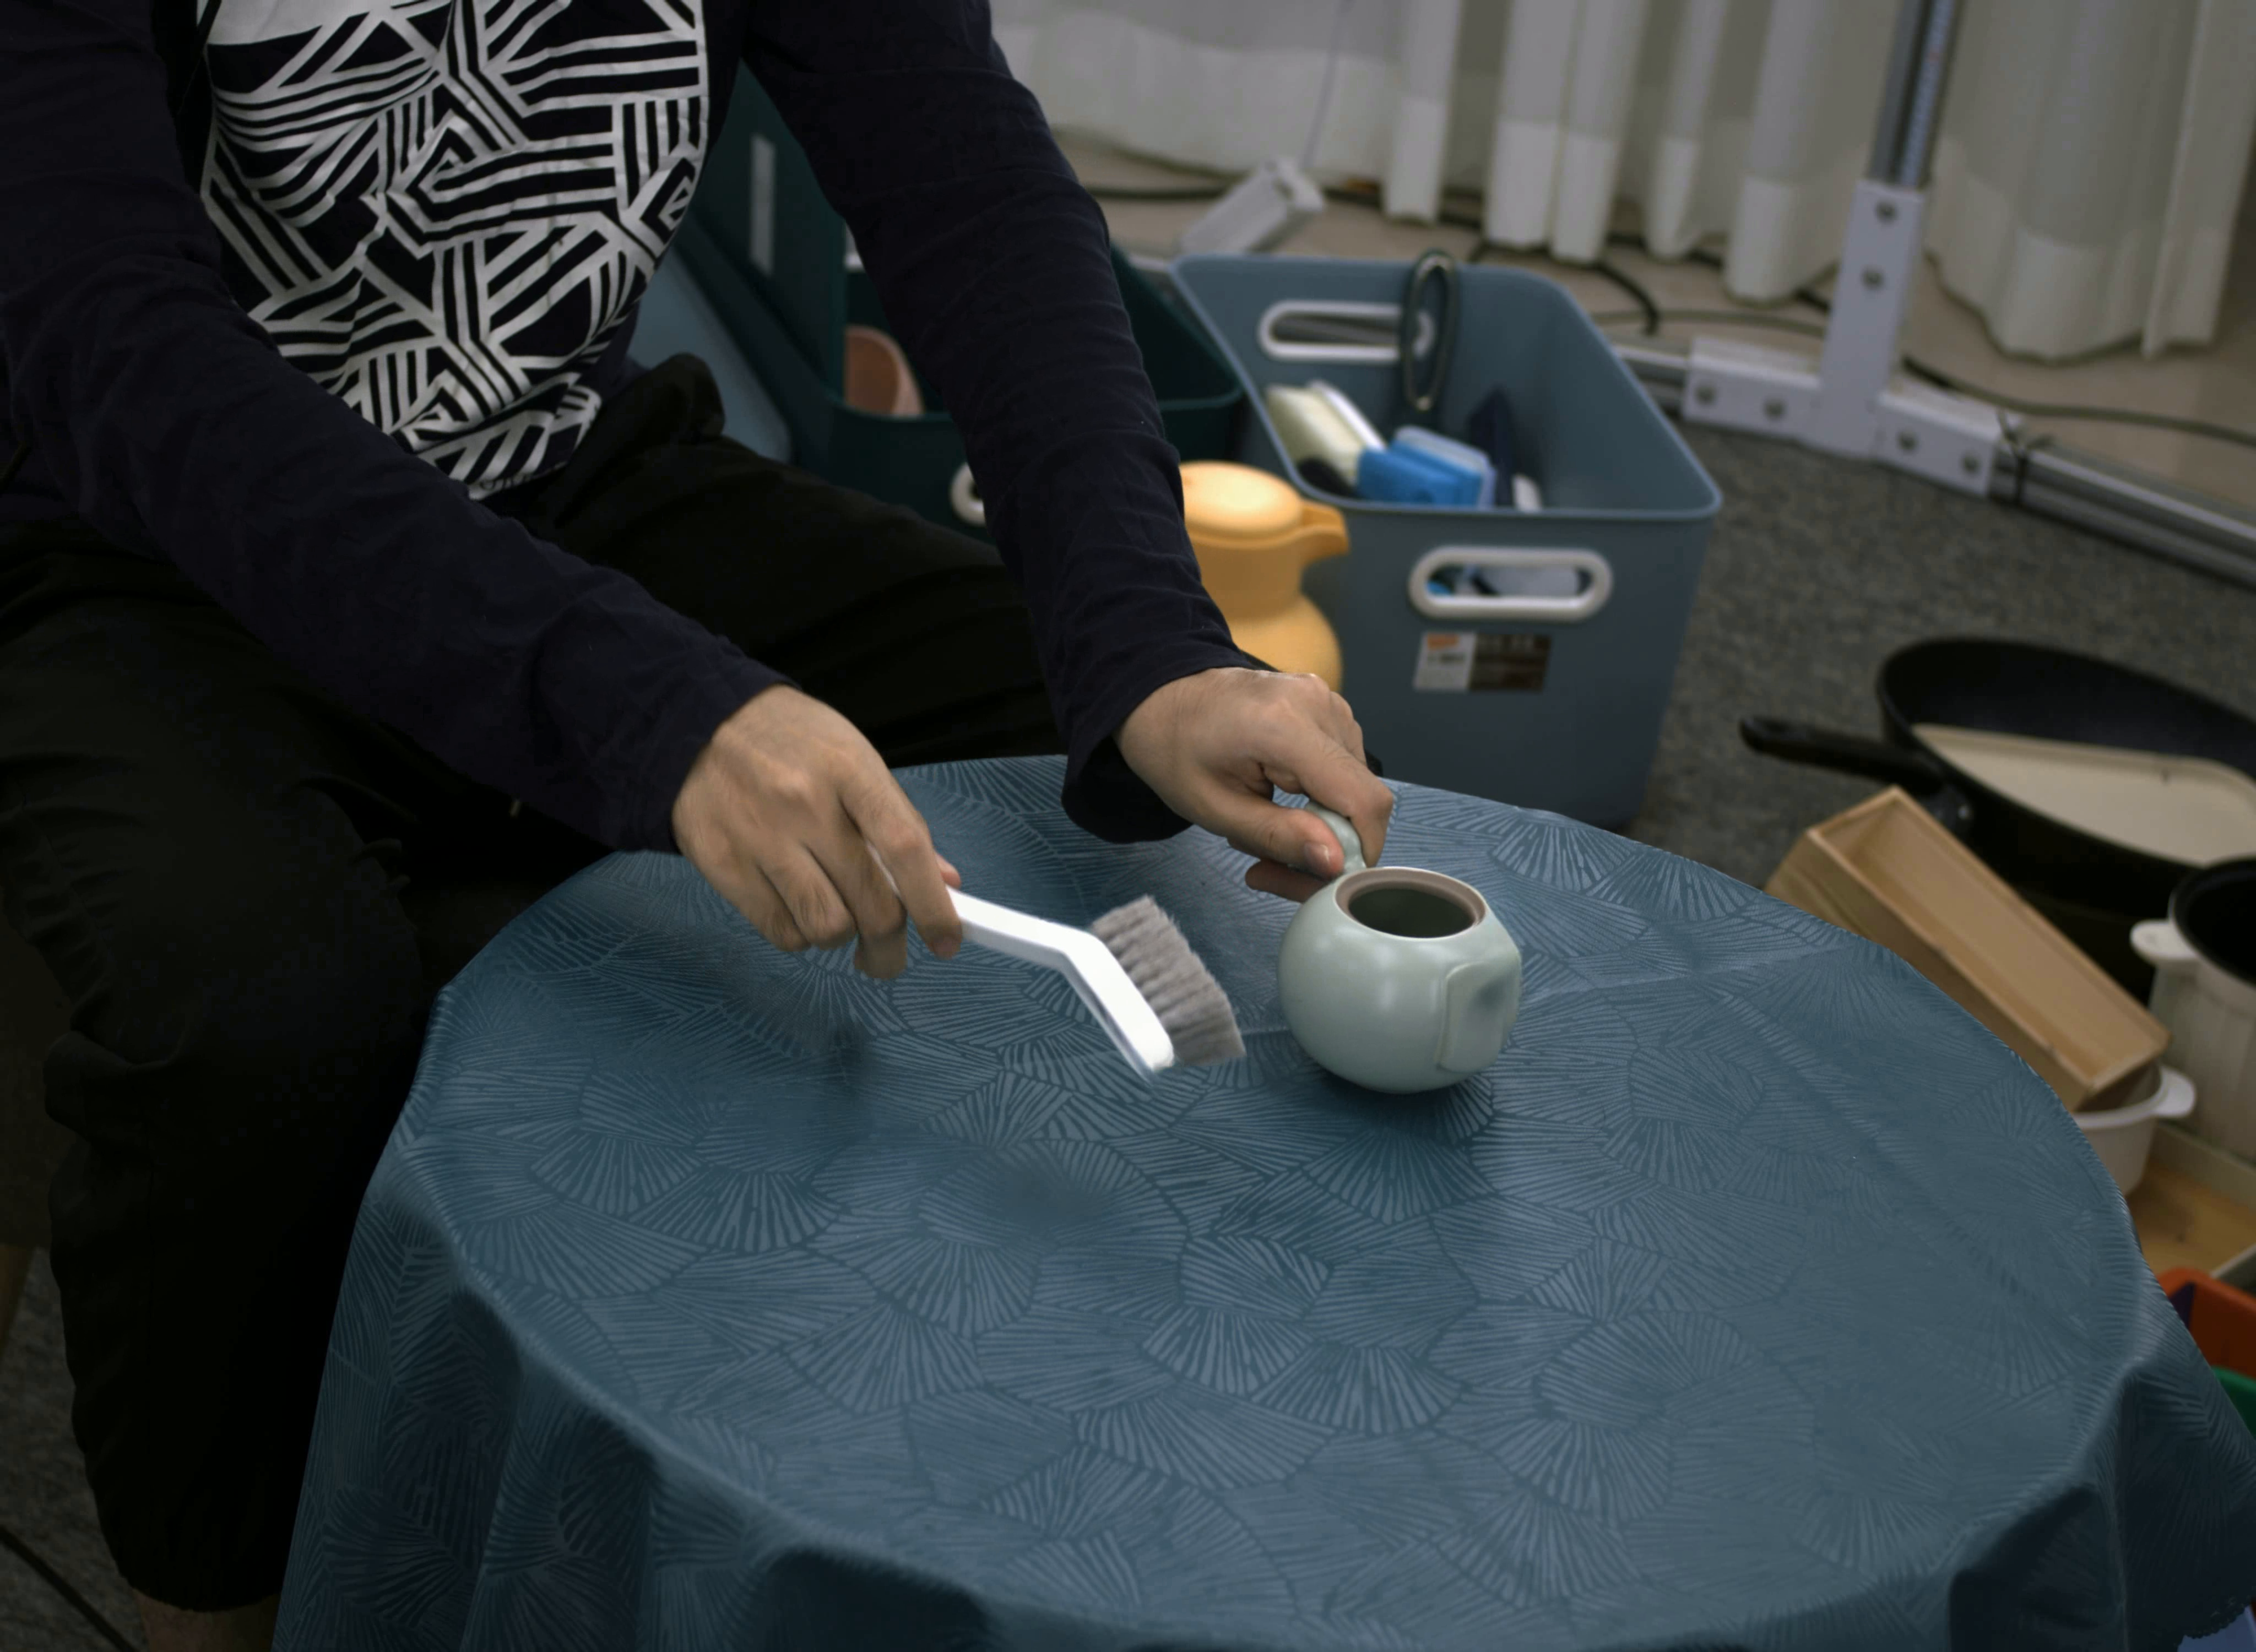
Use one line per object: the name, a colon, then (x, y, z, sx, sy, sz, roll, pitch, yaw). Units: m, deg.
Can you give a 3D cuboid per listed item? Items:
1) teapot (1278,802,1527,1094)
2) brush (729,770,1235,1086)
teapot: (0.097, 0.053, 1.887, 0.088, 0.074, 0.145, -9, 32, -26)
brush: (-0.051, 0.020, 1.843, 0.050, 0.034, 0.245, -45, 47, -14)
